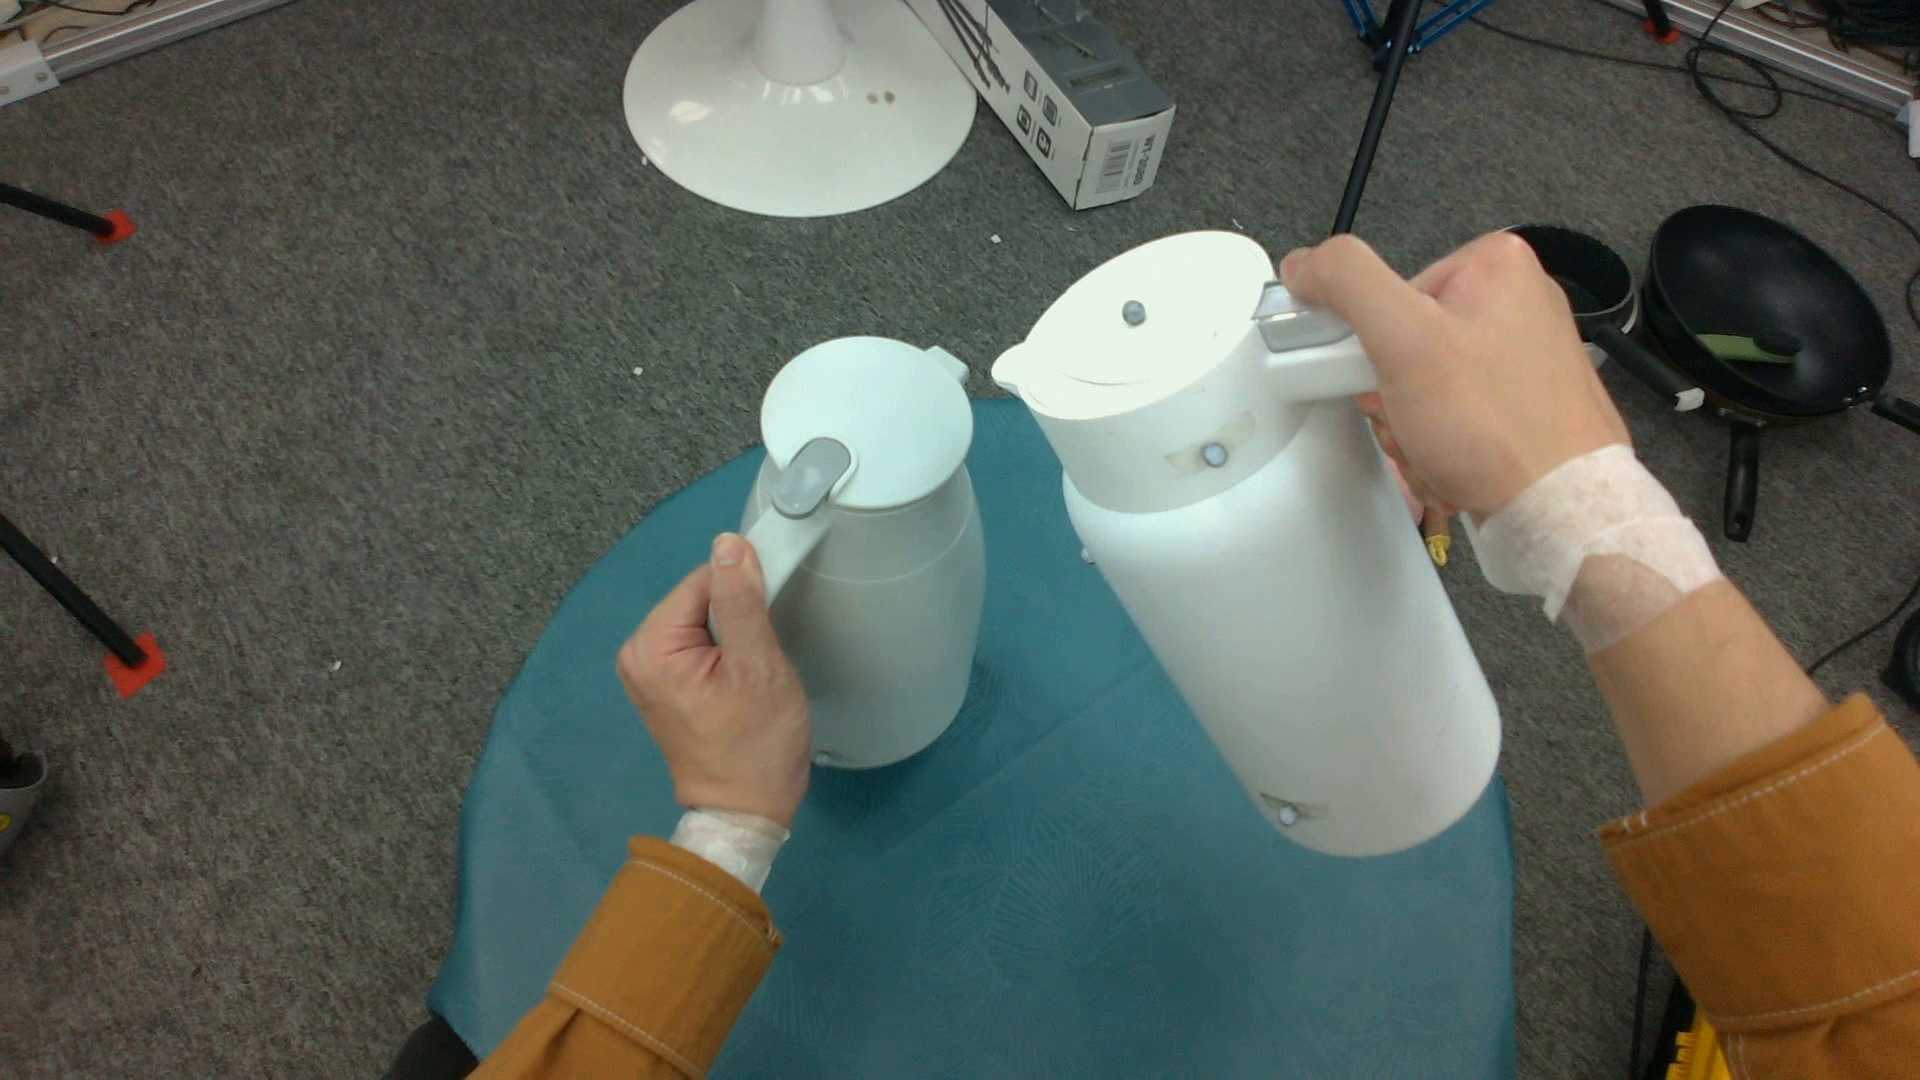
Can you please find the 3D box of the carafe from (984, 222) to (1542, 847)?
[{"bbox_3d":[0.140,0.004,0.551,0.172,0.268,0.124,-5,43,36],"label":"carafe"}]

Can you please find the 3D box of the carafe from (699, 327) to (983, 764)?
[{"bbox_3d":[-0.061,0.017,0.680,0.132,0.247,0.168,34,62,14],"label":"carafe"}]
